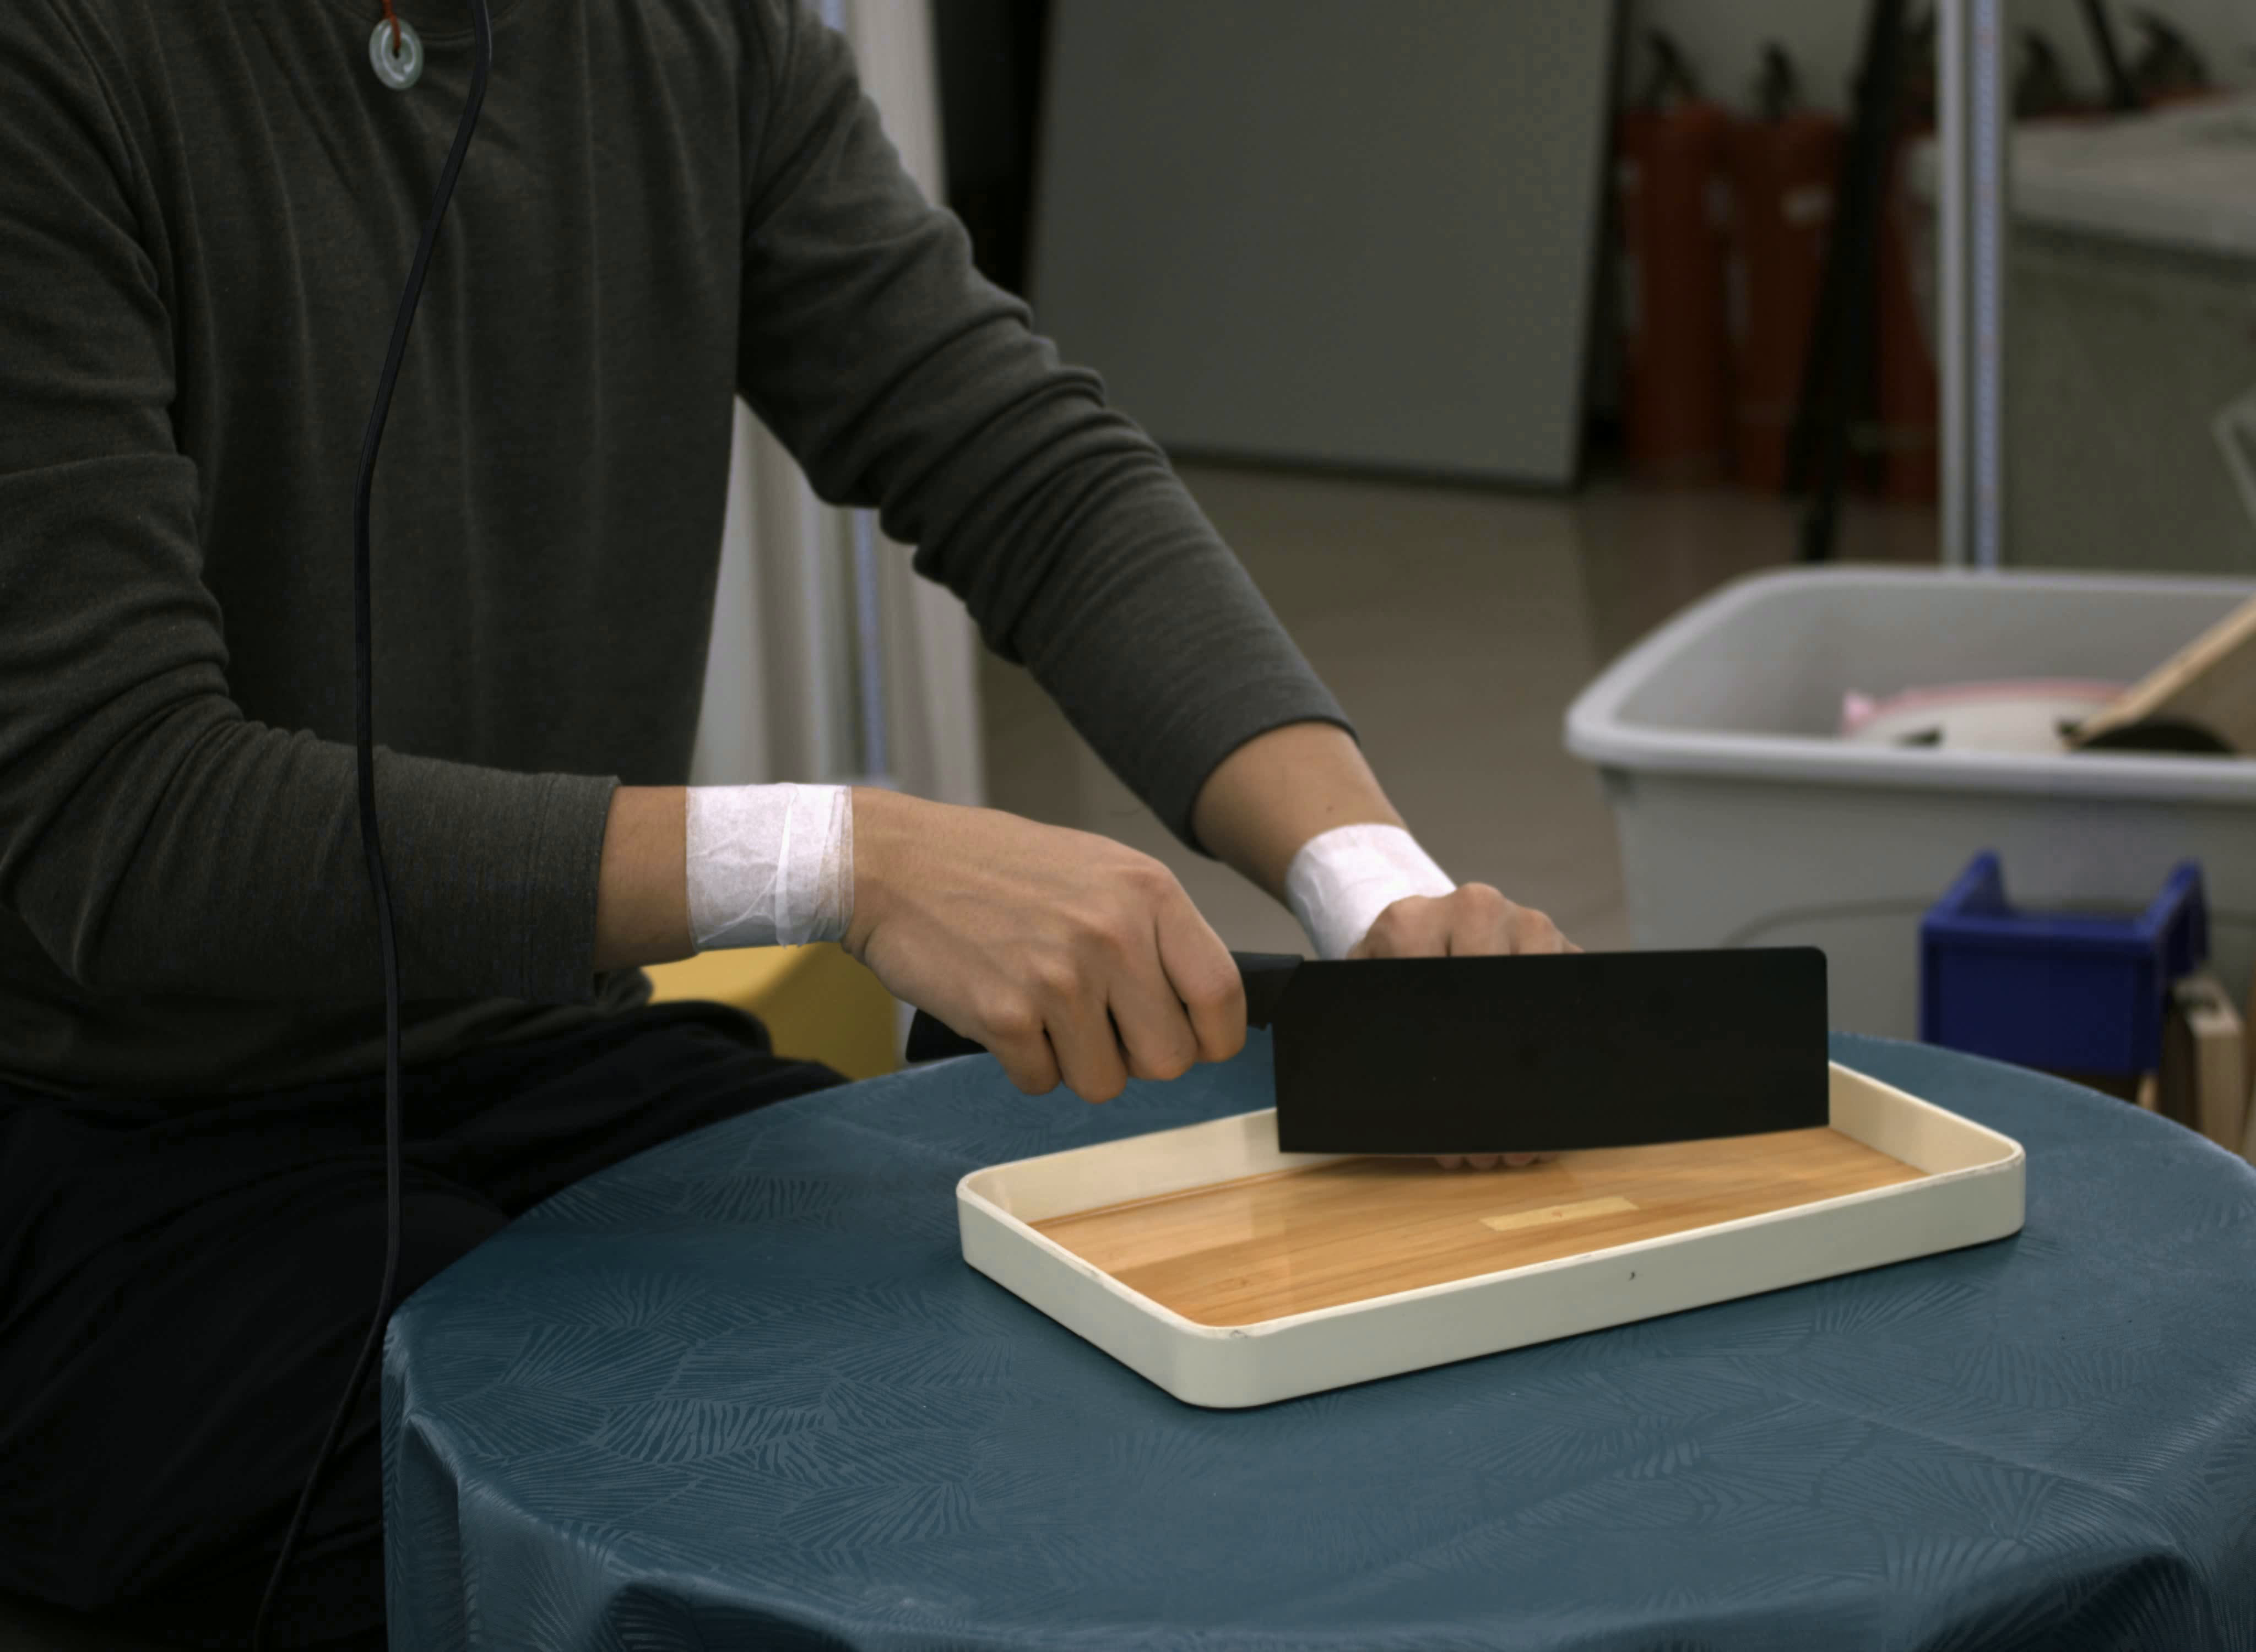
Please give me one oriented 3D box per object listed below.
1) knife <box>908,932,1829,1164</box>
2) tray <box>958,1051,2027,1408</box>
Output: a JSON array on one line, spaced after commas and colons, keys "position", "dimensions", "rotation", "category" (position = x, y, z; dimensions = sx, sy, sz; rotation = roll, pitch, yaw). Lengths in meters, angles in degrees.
[{"position": [0.077, 0.070, 1.739], "dimensions": [0.299, 0.082, 0.021], "rotation": [2, 9, 7], "category": "knife"}, {"position": [0.114, 0.119, 1.694], "dimensions": [0.294, 0.028, 0.193], "rotation": [-10, 15, -23], "category": "tray"}]
